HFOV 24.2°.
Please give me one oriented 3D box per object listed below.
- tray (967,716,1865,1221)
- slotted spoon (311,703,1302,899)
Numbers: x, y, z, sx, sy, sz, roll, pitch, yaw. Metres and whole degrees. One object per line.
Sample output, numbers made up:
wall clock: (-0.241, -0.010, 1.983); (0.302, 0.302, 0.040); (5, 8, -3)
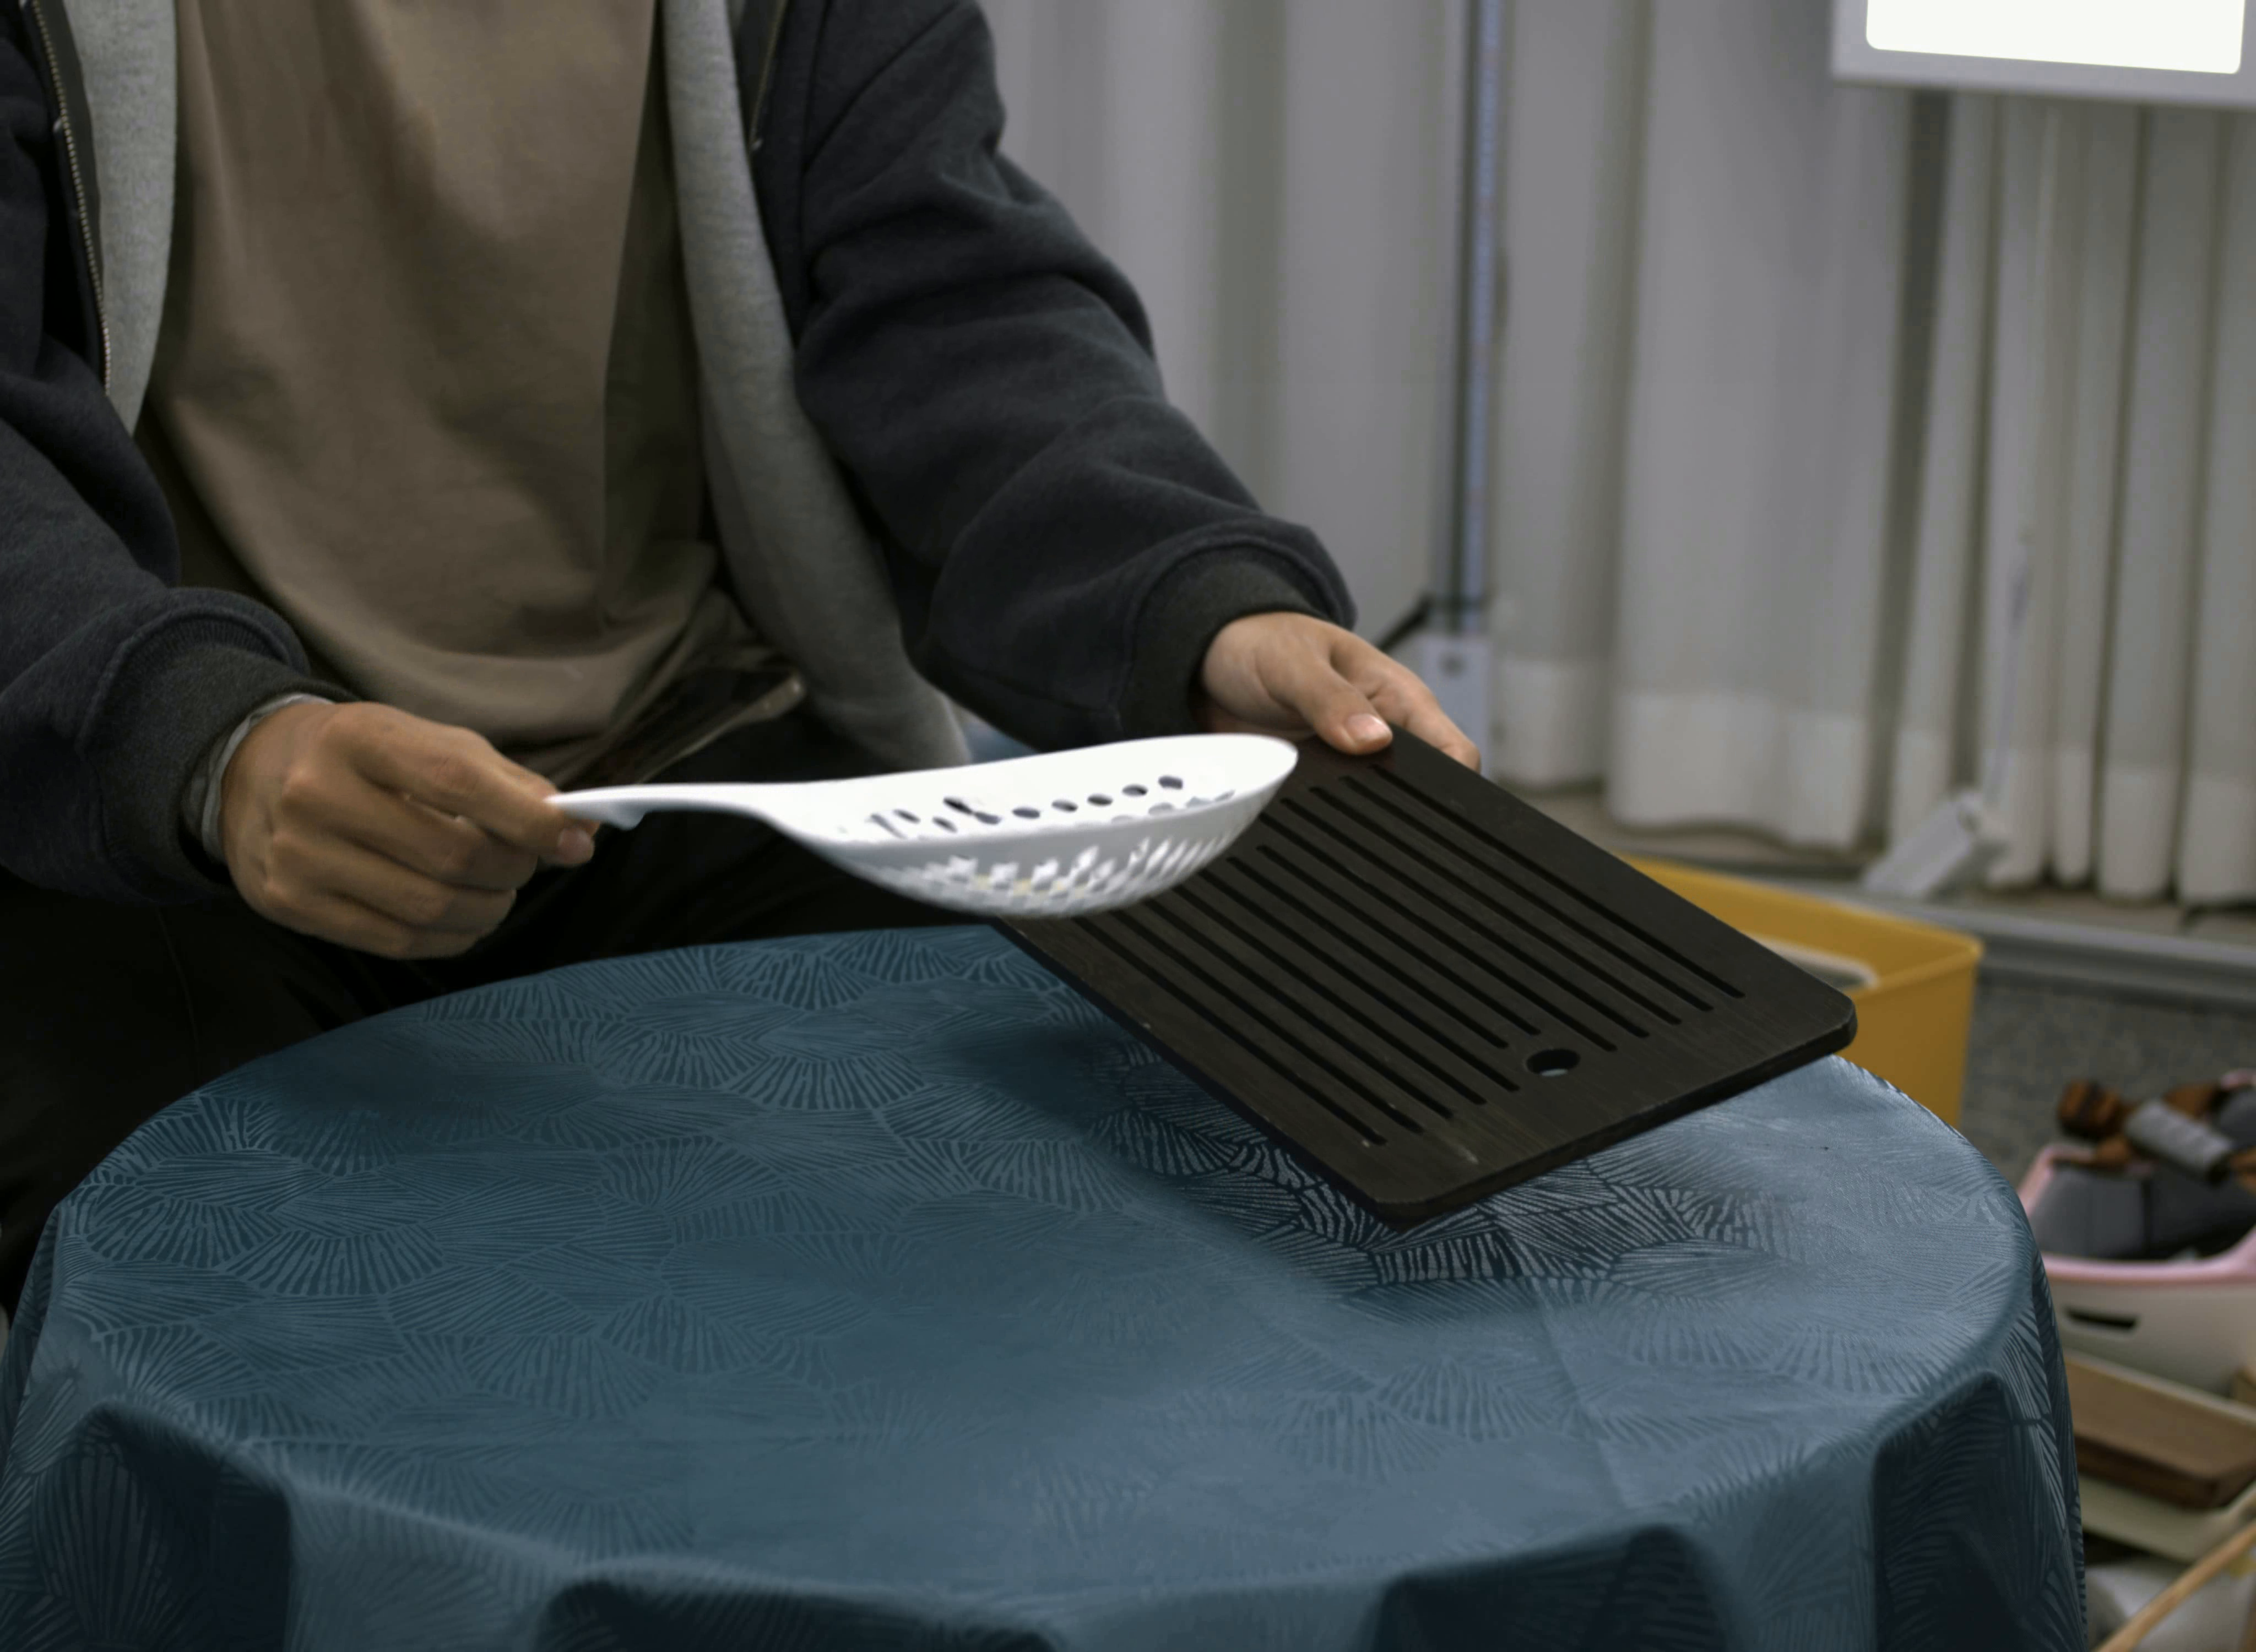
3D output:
tray: (0.085, 0.041, 1.677); (0.170, 0.019, 0.302); (-20, 27, -21)
slotted spoon: (-0.109, -0.002, 1.610); (0.344, 0.050, 0.137); (1, 13, 30)
